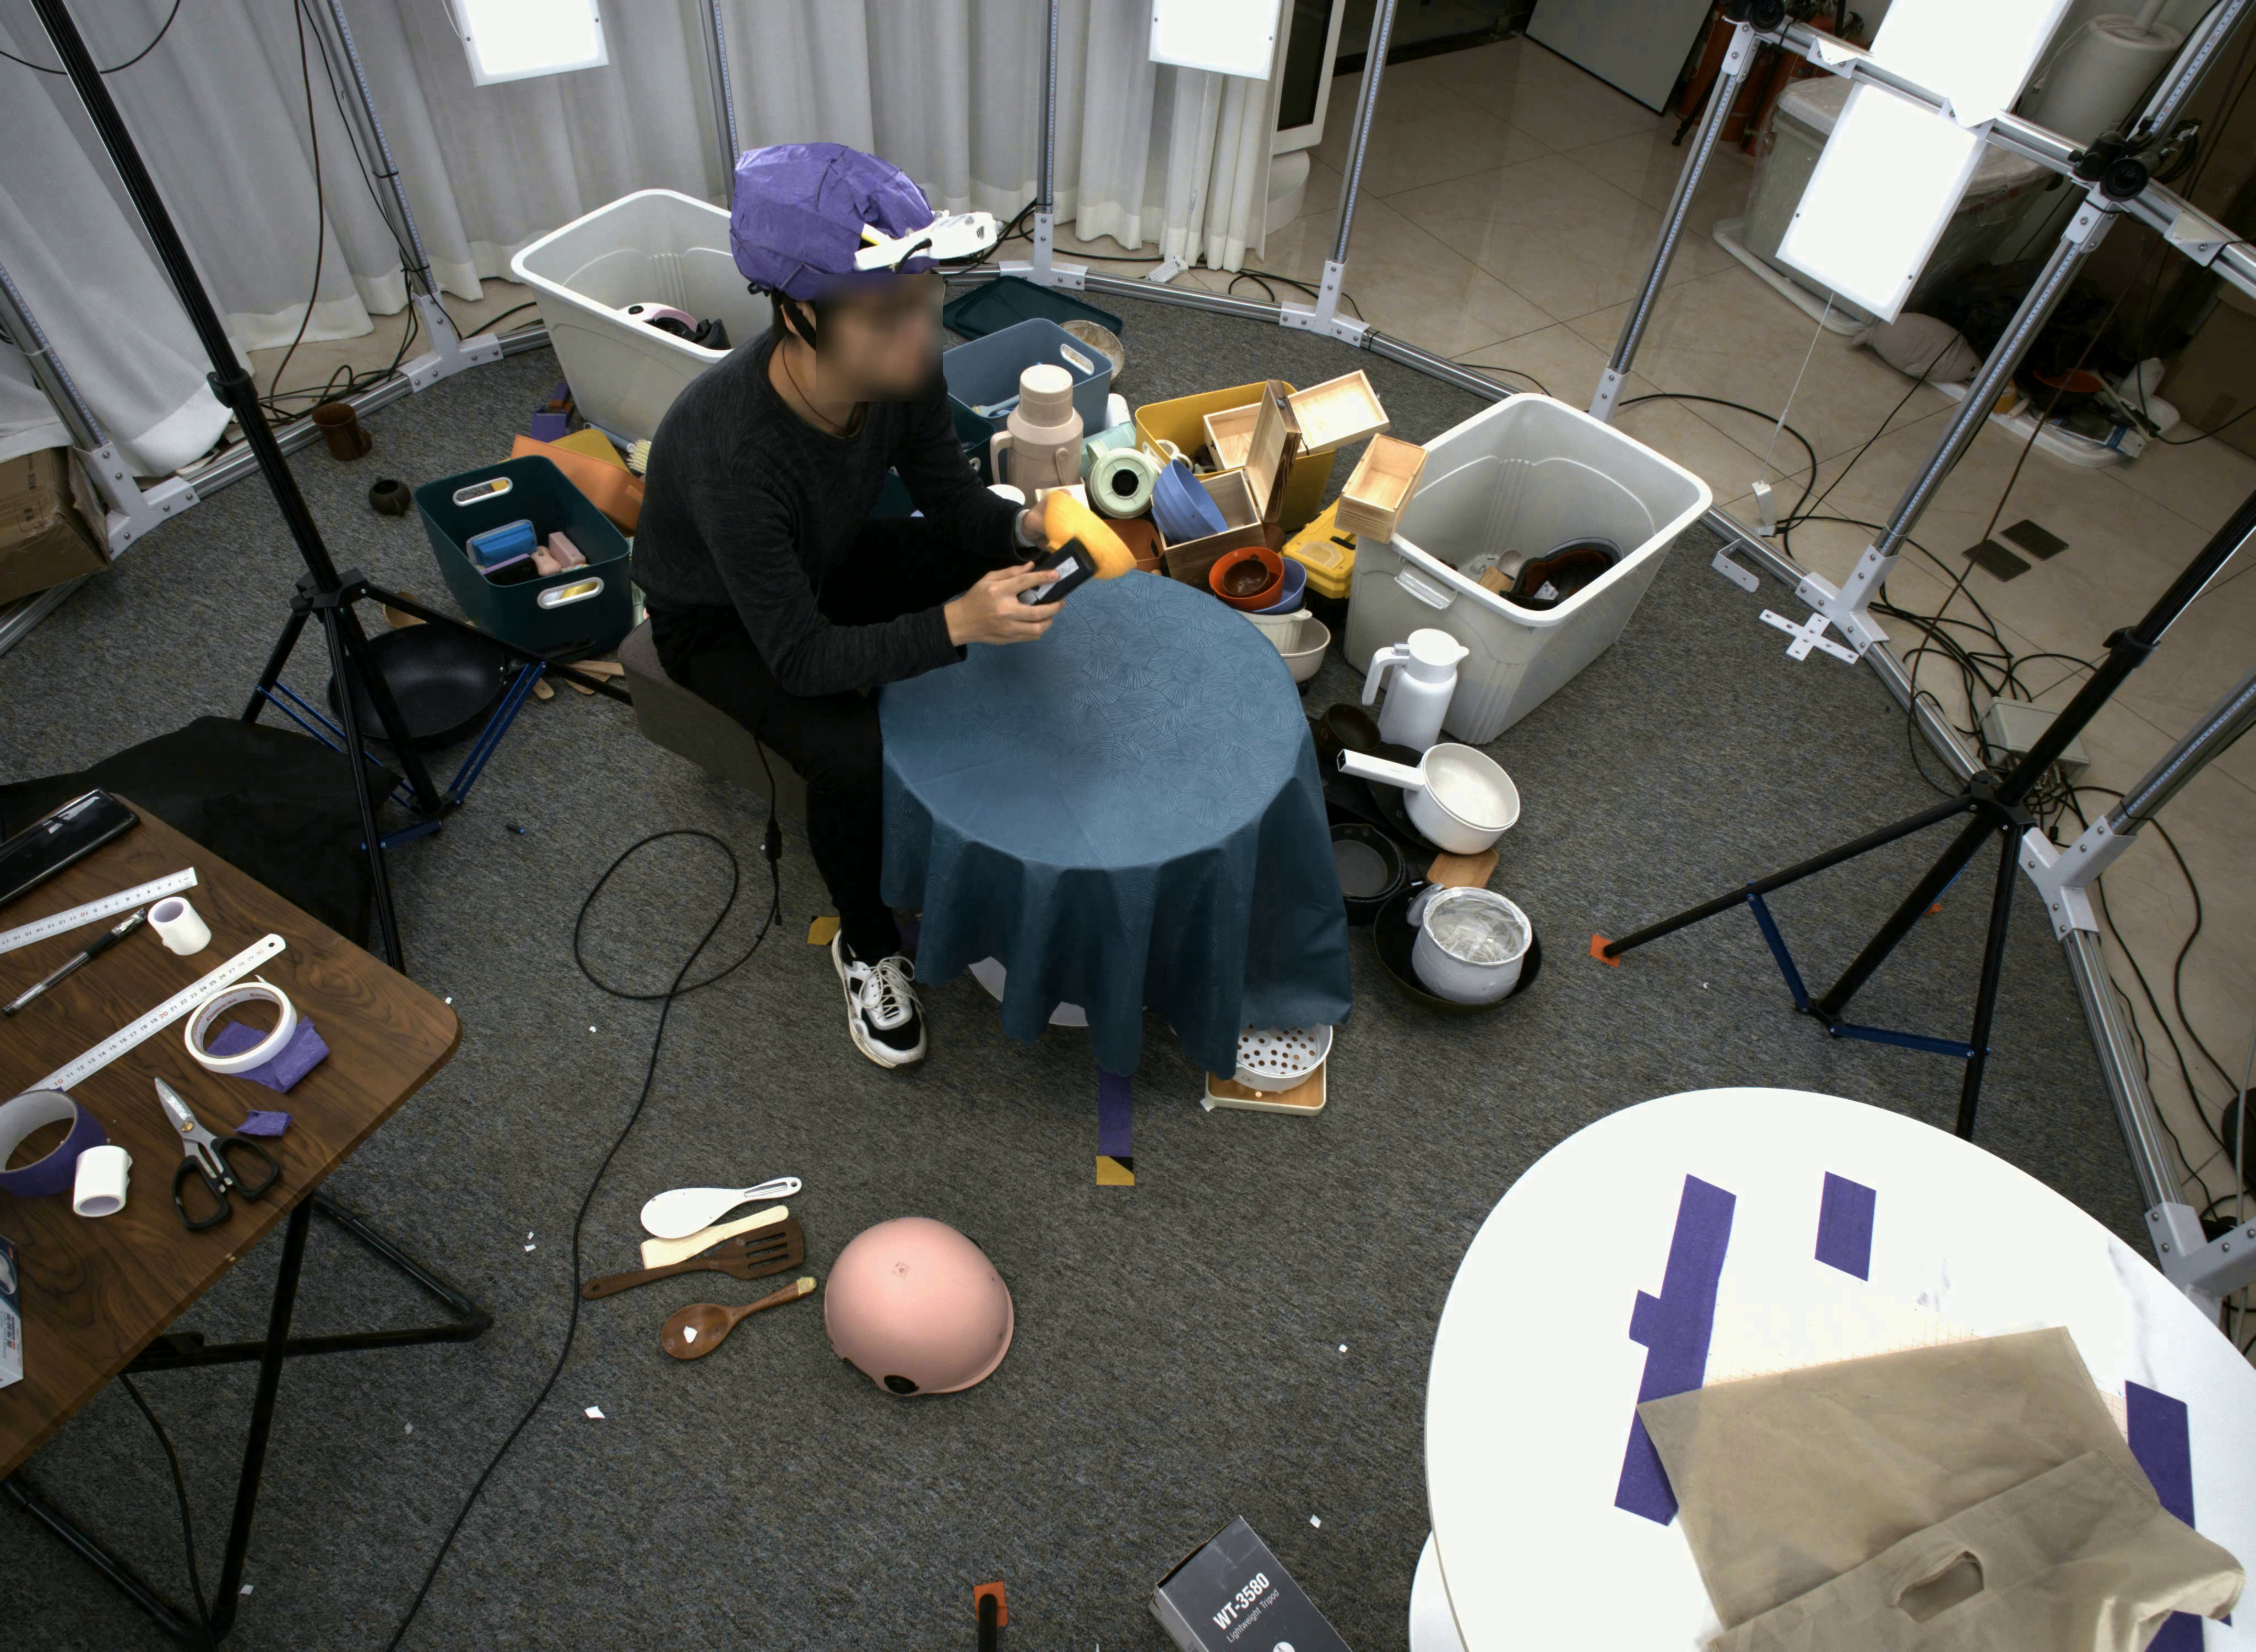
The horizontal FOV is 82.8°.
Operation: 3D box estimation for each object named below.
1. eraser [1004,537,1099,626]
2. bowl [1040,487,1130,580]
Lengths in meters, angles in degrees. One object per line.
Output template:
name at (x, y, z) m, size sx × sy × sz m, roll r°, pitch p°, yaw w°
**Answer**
eraser at (-0.097, -0.311, 1.634) m, size 0.053 × 0.124 × 0.031 m, roll 56°, pitch 30°, yaw -2°
bowl at (-0.067, -0.366, 1.676) m, size 0.060 × 0.143 × 0.148 m, roll -46°, pitch 63°, yaw -2°
